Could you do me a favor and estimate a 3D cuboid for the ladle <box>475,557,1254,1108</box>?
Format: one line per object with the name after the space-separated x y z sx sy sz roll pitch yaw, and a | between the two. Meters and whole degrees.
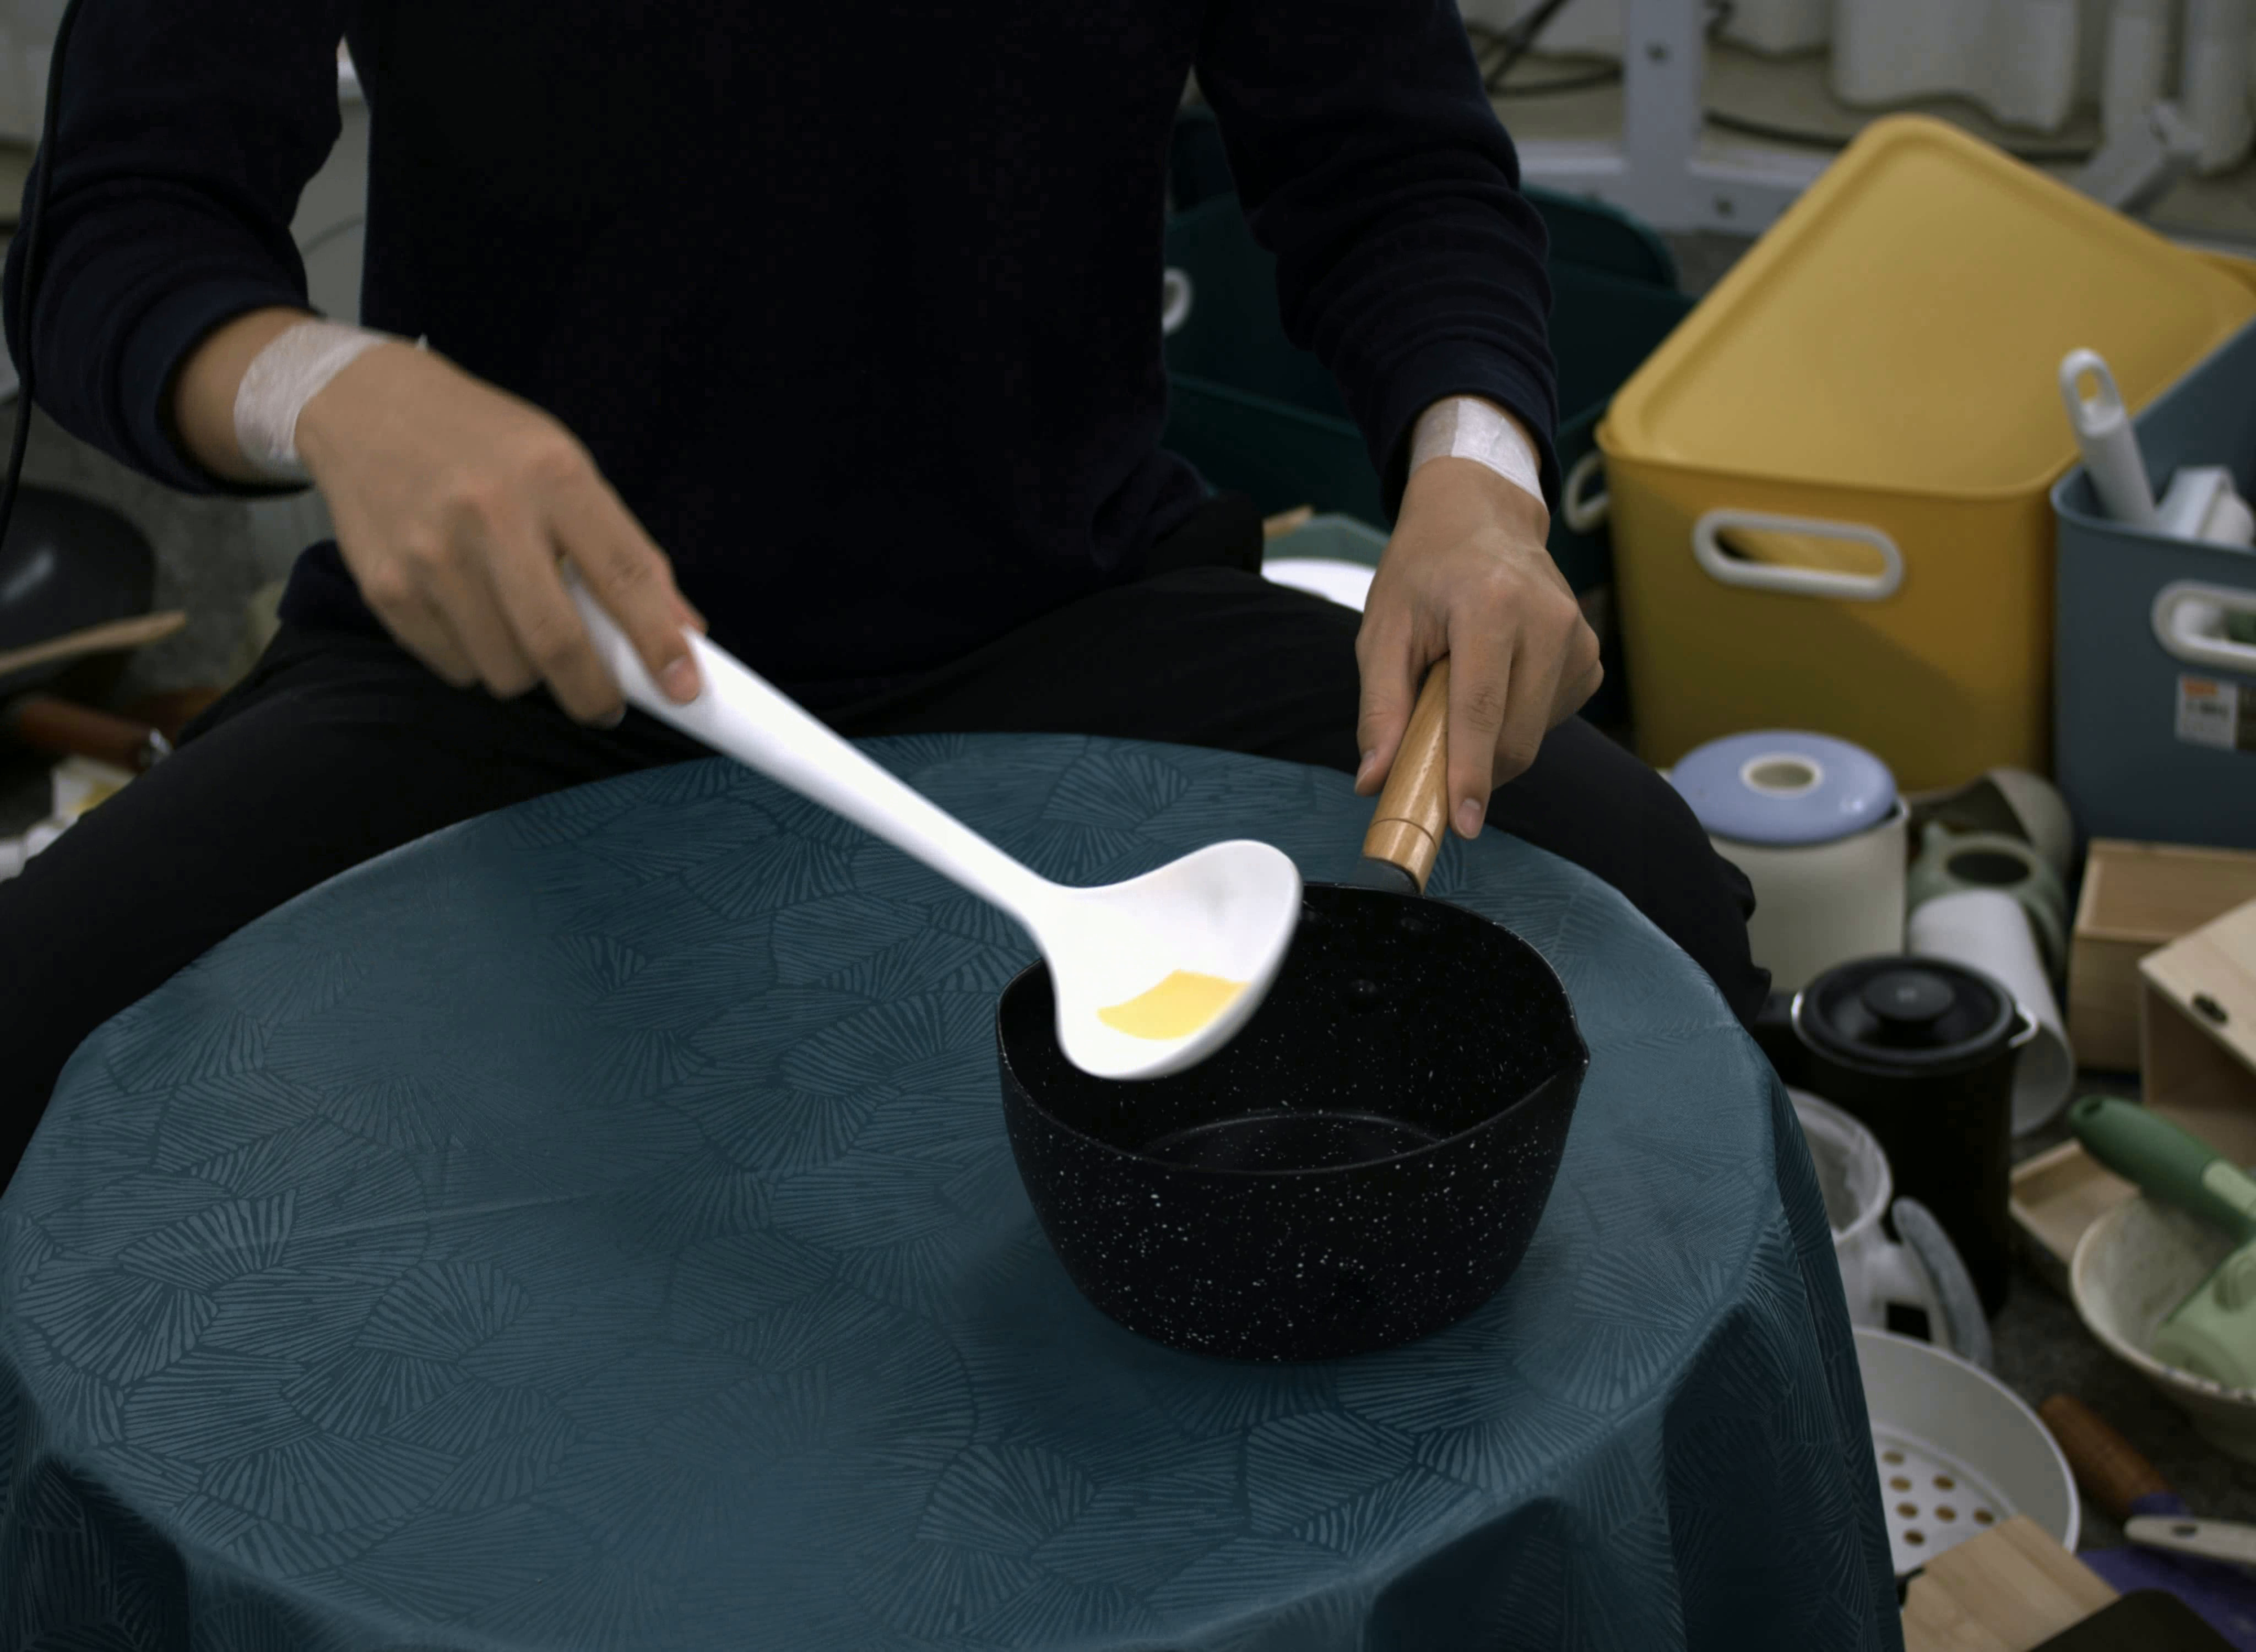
-0.086 -0.008 1.724 0.293 0.069 0.091 32 79 21 | ladle

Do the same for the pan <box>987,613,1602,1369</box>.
0.074 0.051 1.875 0.206 0.107 0.349 4 30 16 | pan
